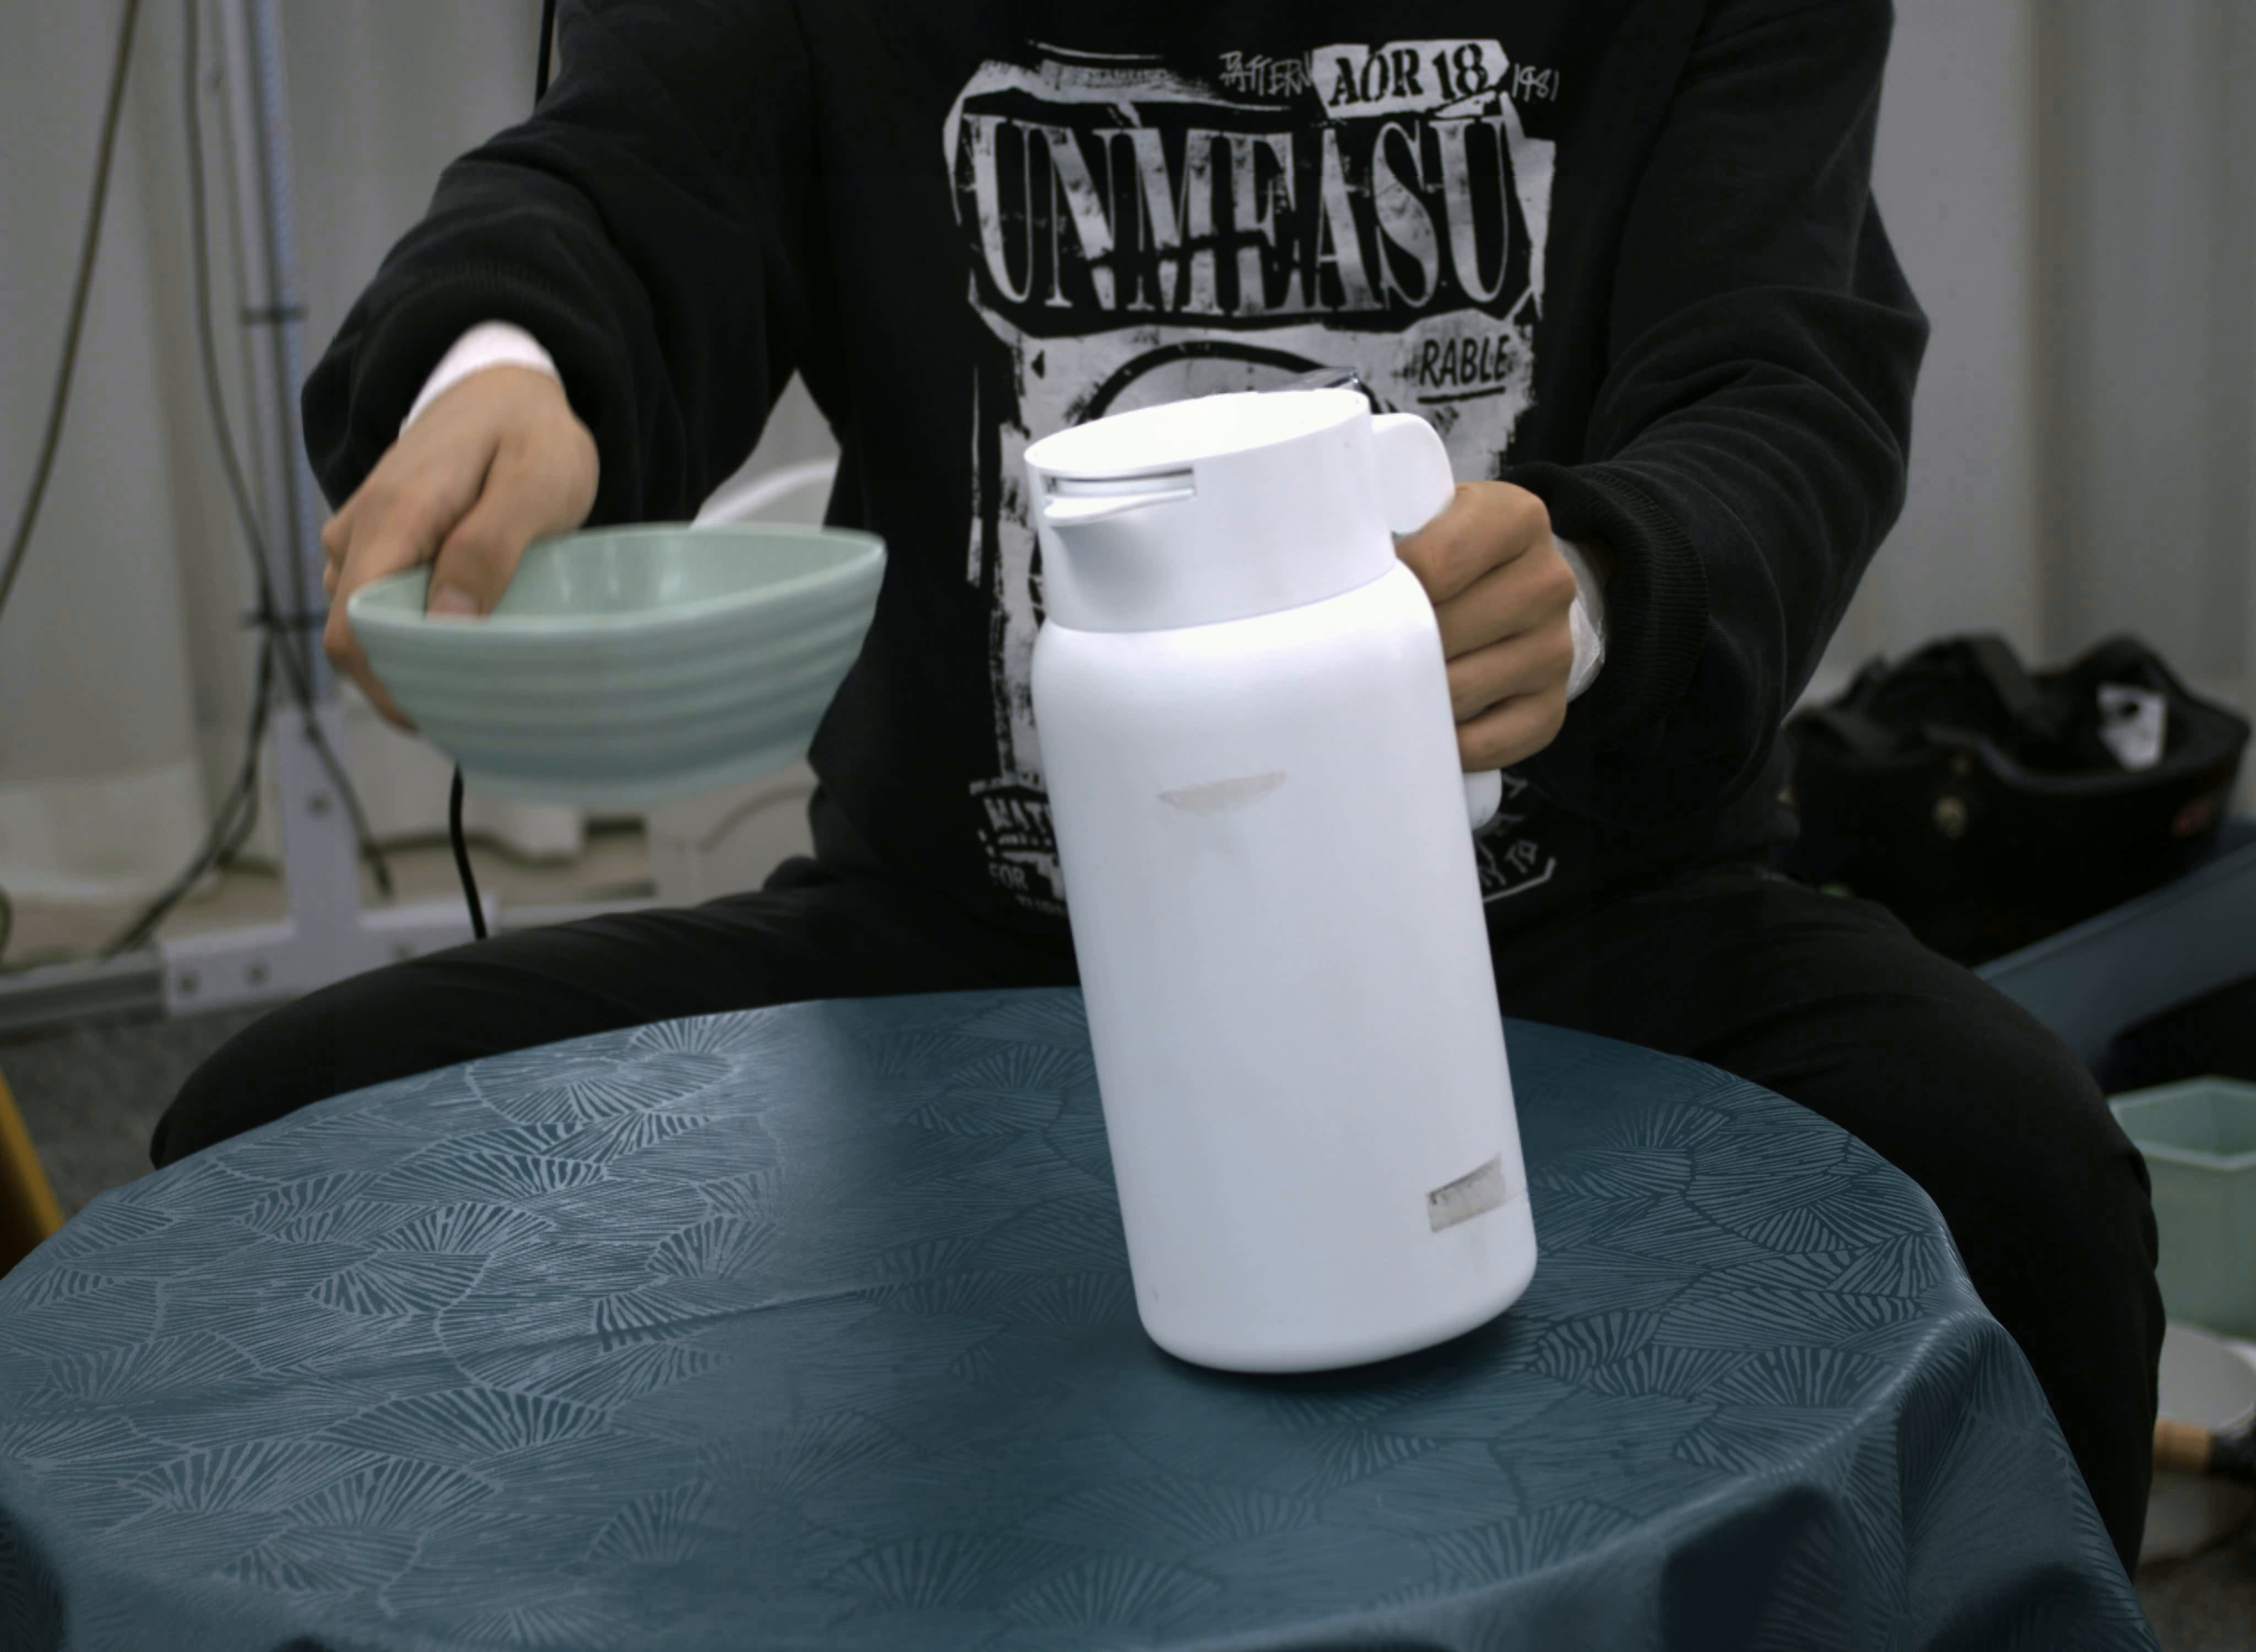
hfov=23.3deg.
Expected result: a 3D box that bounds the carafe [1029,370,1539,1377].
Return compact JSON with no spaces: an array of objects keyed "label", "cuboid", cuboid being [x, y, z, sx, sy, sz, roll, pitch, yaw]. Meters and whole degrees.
[{"label":"carafe","cuboid":[0.050,0.009,1.568,0.124,0.268,0.173,-3,13,36]}]

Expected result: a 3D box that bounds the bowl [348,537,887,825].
[{"label":"bowl","cuboid":[-0.140,-0.039,1.536,0.151,0.058,0.152,-5,13,1]}]
